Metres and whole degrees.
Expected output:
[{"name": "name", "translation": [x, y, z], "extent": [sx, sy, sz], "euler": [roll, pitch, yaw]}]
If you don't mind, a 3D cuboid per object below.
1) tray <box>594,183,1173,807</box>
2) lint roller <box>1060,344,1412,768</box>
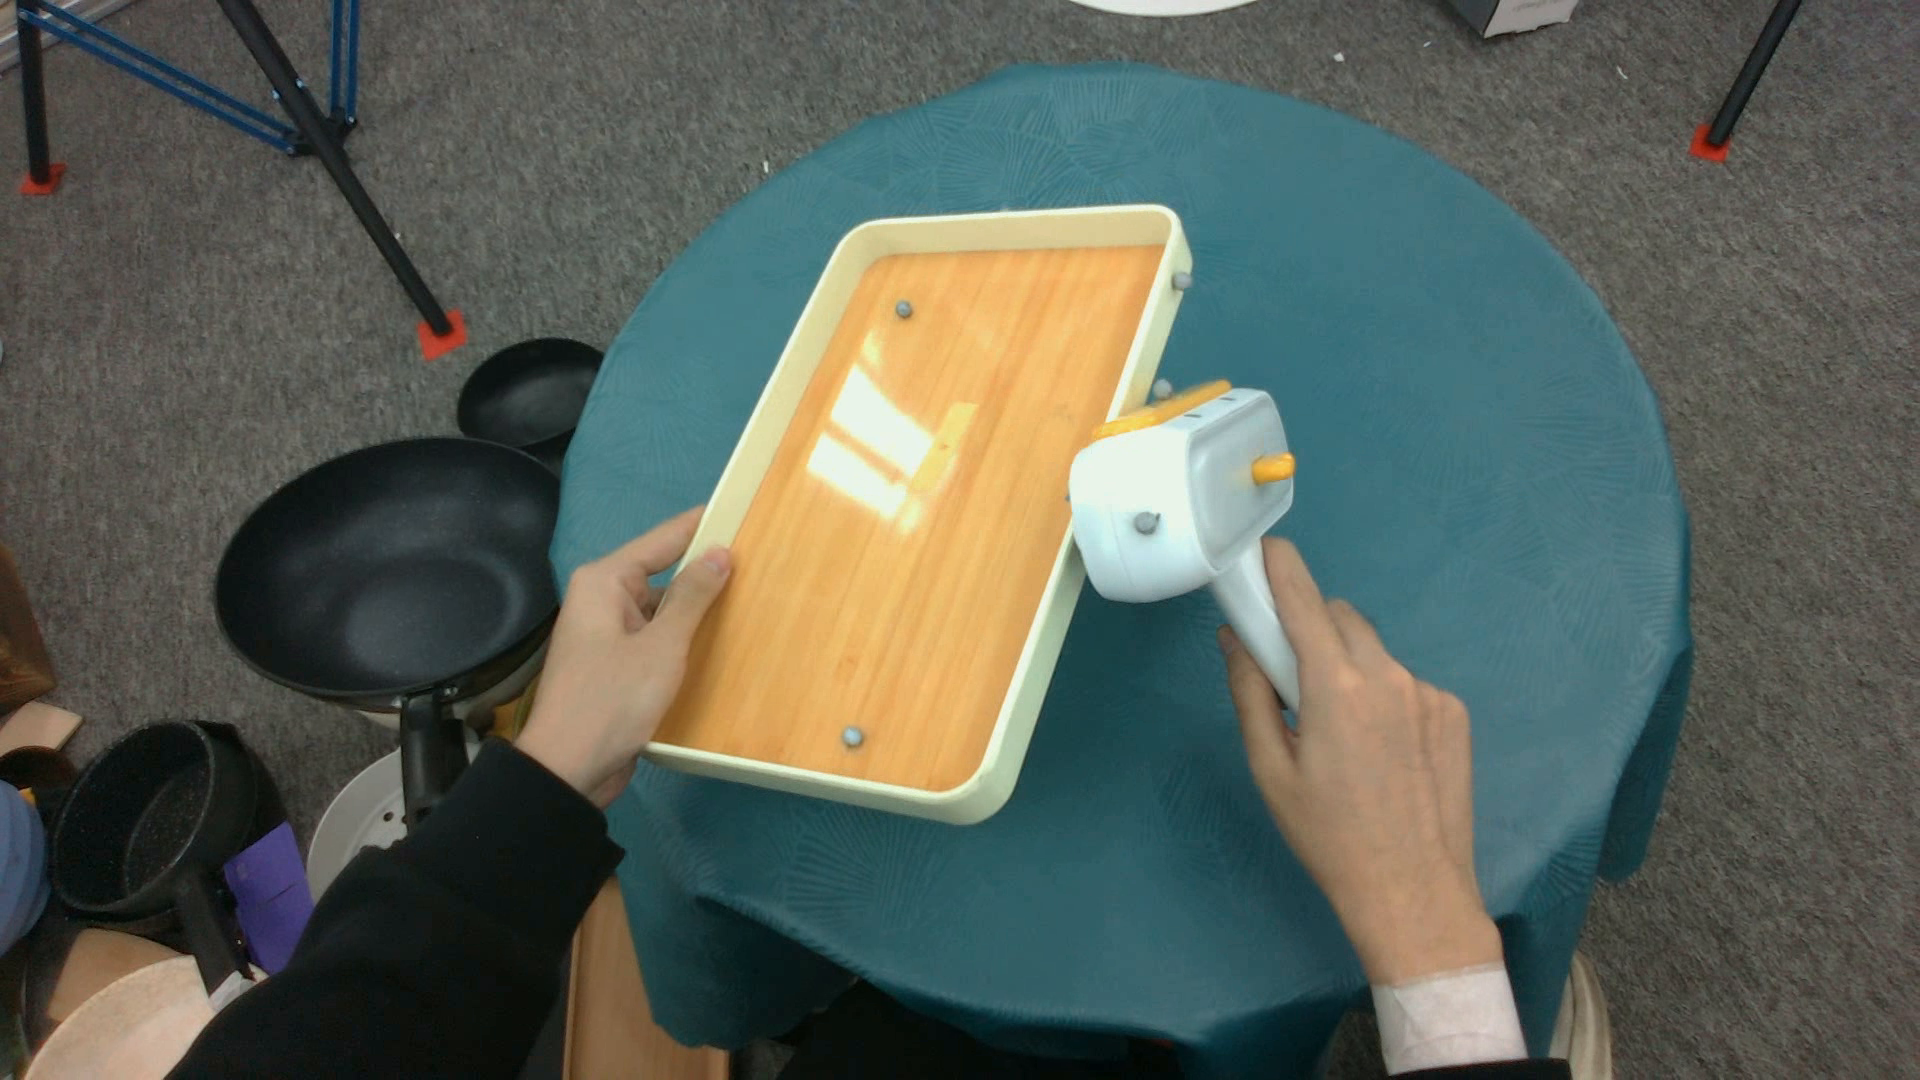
[{"name": "tray", "translation": [-0.029, -0.036, 0.614], "extent": [0.191, 0.027, 0.301], "euler": [5, 60, 30]}, {"name": "lint roller", "translation": [0.124, 0.015, 0.579], "extent": [0.074, 0.193, 0.192], "euler": [-24, 97, 24]}]
